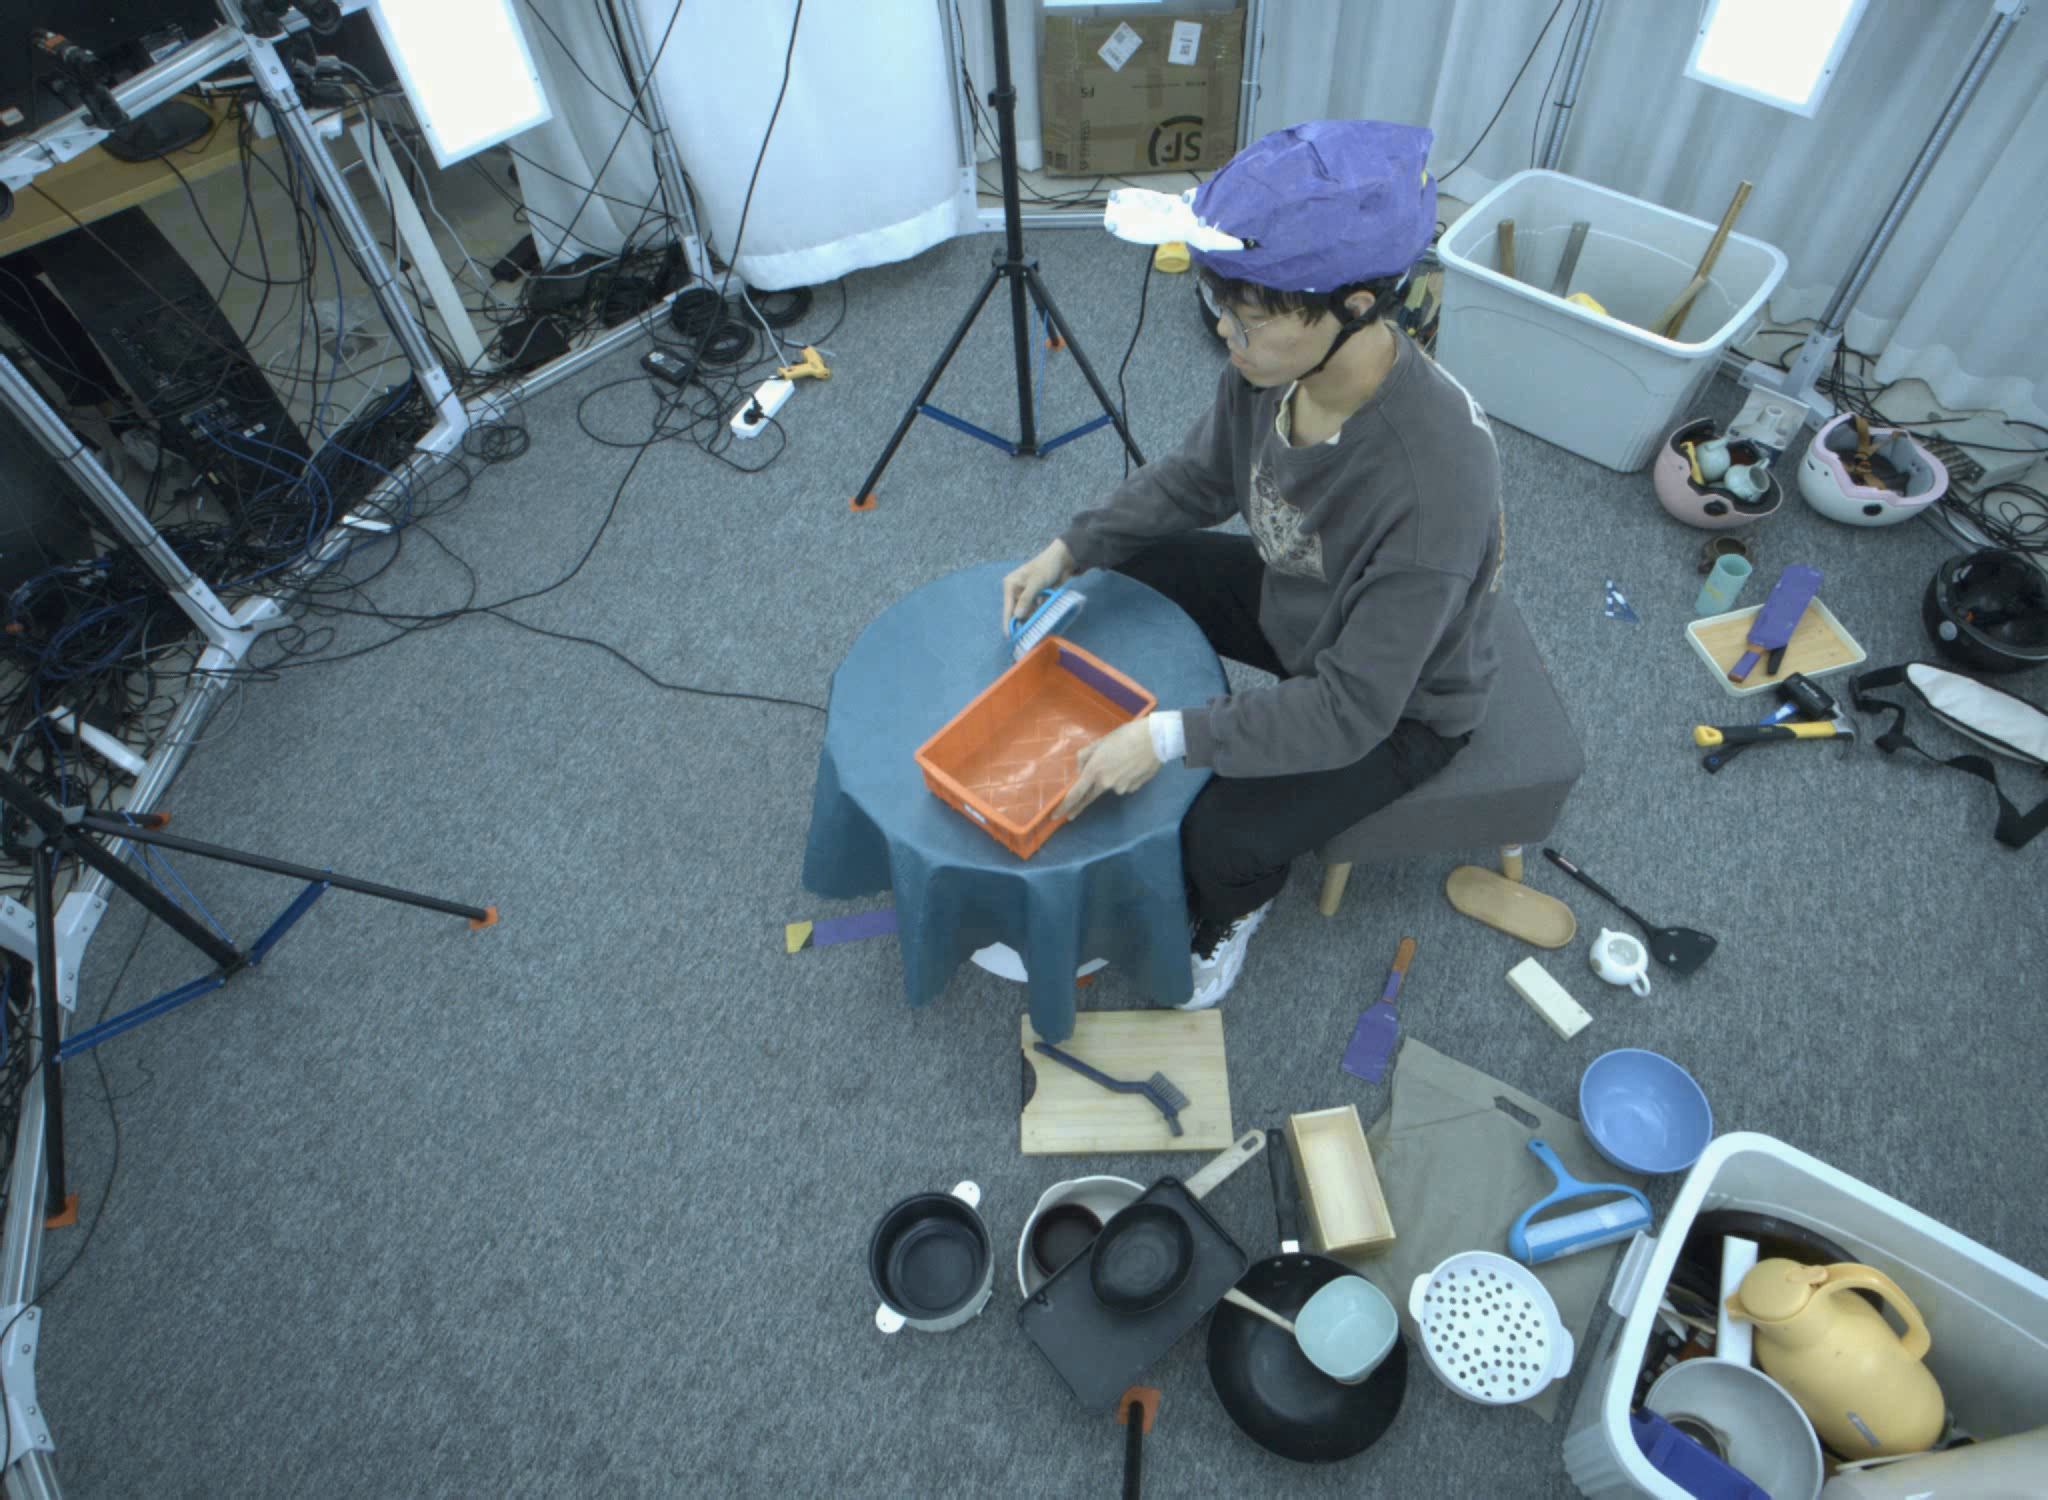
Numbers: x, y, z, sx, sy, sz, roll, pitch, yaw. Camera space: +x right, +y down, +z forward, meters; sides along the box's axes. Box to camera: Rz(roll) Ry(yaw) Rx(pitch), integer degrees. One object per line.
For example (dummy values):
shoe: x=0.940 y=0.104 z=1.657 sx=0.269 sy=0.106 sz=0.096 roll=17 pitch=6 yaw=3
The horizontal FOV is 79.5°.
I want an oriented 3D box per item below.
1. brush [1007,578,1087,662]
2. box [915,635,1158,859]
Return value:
brush: x=0.025 y=-0.199 z=1.820 sx=0.063 sy=0.085 sz=0.142 roll=43 pitch=91 yaw=17
box: x=0.022 y=-0.006 z=1.735 sx=0.203 sy=0.097 sz=0.305 roll=35 pitch=63 yaw=24
